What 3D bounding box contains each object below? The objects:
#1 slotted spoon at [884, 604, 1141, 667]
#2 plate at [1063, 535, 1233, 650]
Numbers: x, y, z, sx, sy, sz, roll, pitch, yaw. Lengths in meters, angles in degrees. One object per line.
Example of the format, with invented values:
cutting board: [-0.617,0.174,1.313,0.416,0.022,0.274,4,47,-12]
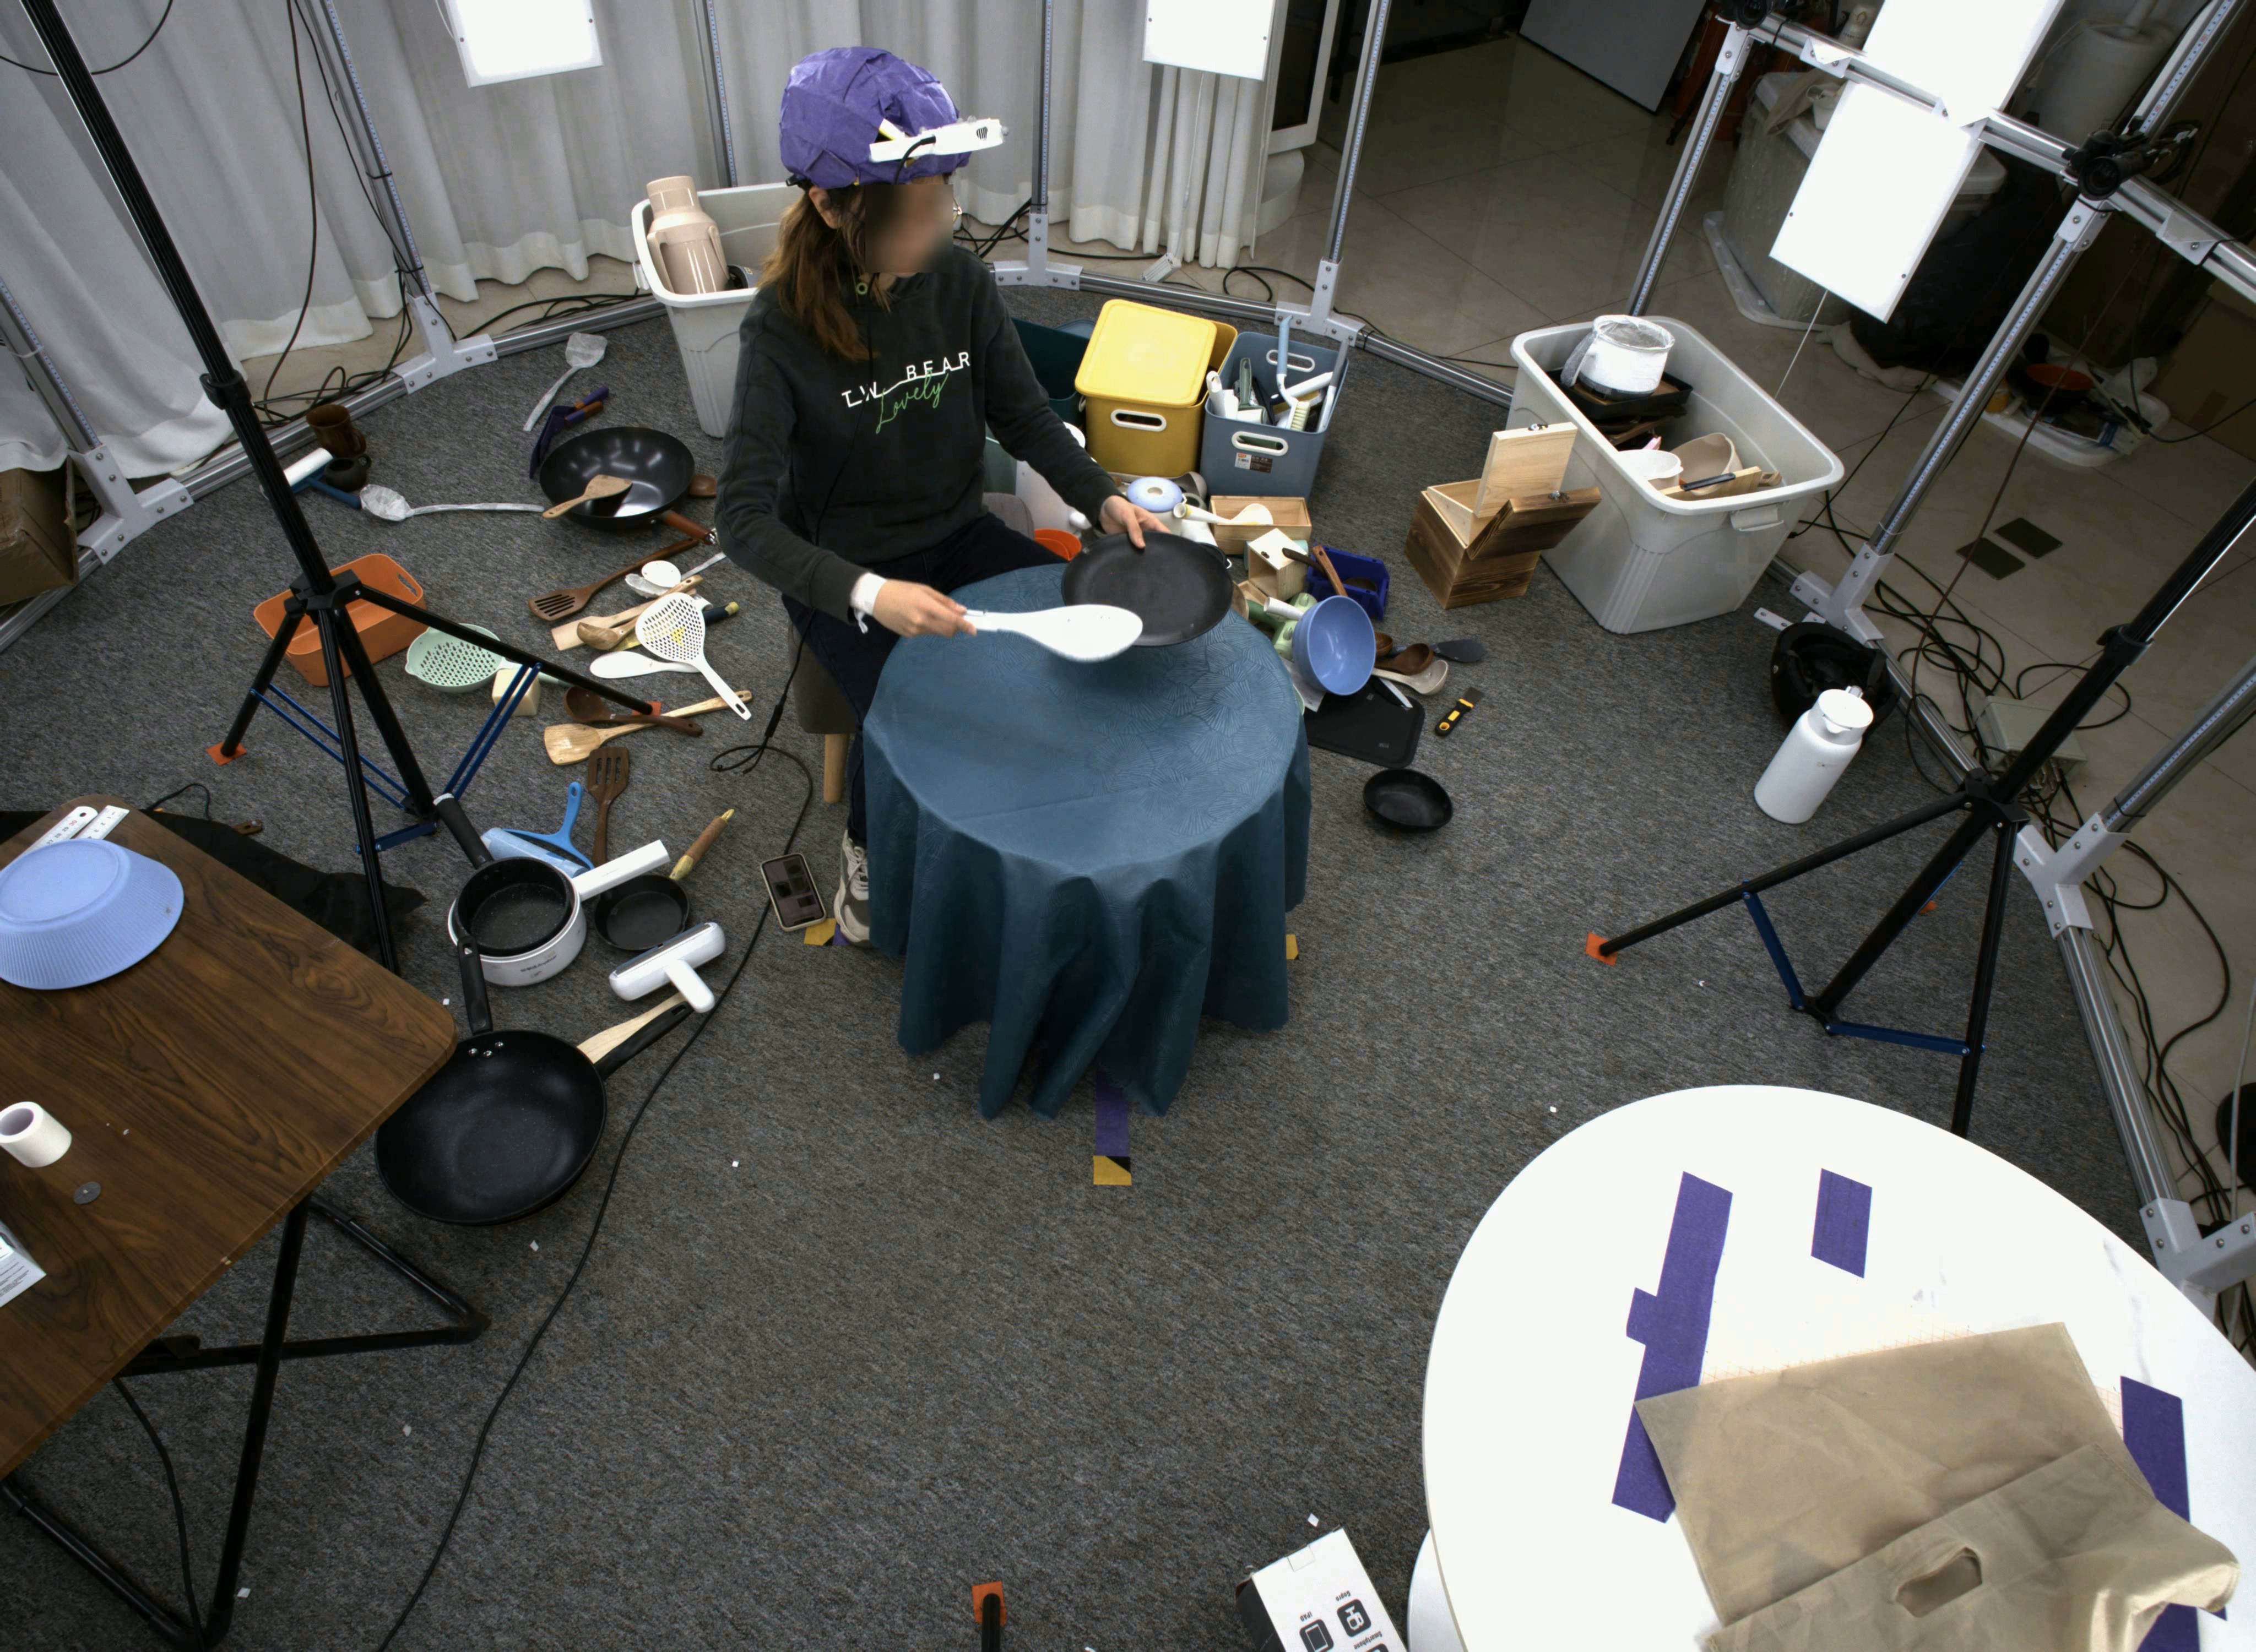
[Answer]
slotted spoon: [-0.154,-0.258,1.679,0.351,0.045,0.138,13,34,12]
plate: [0.029,-0.333,1.845,0.244,0.023,0.250,0,50,-1]
